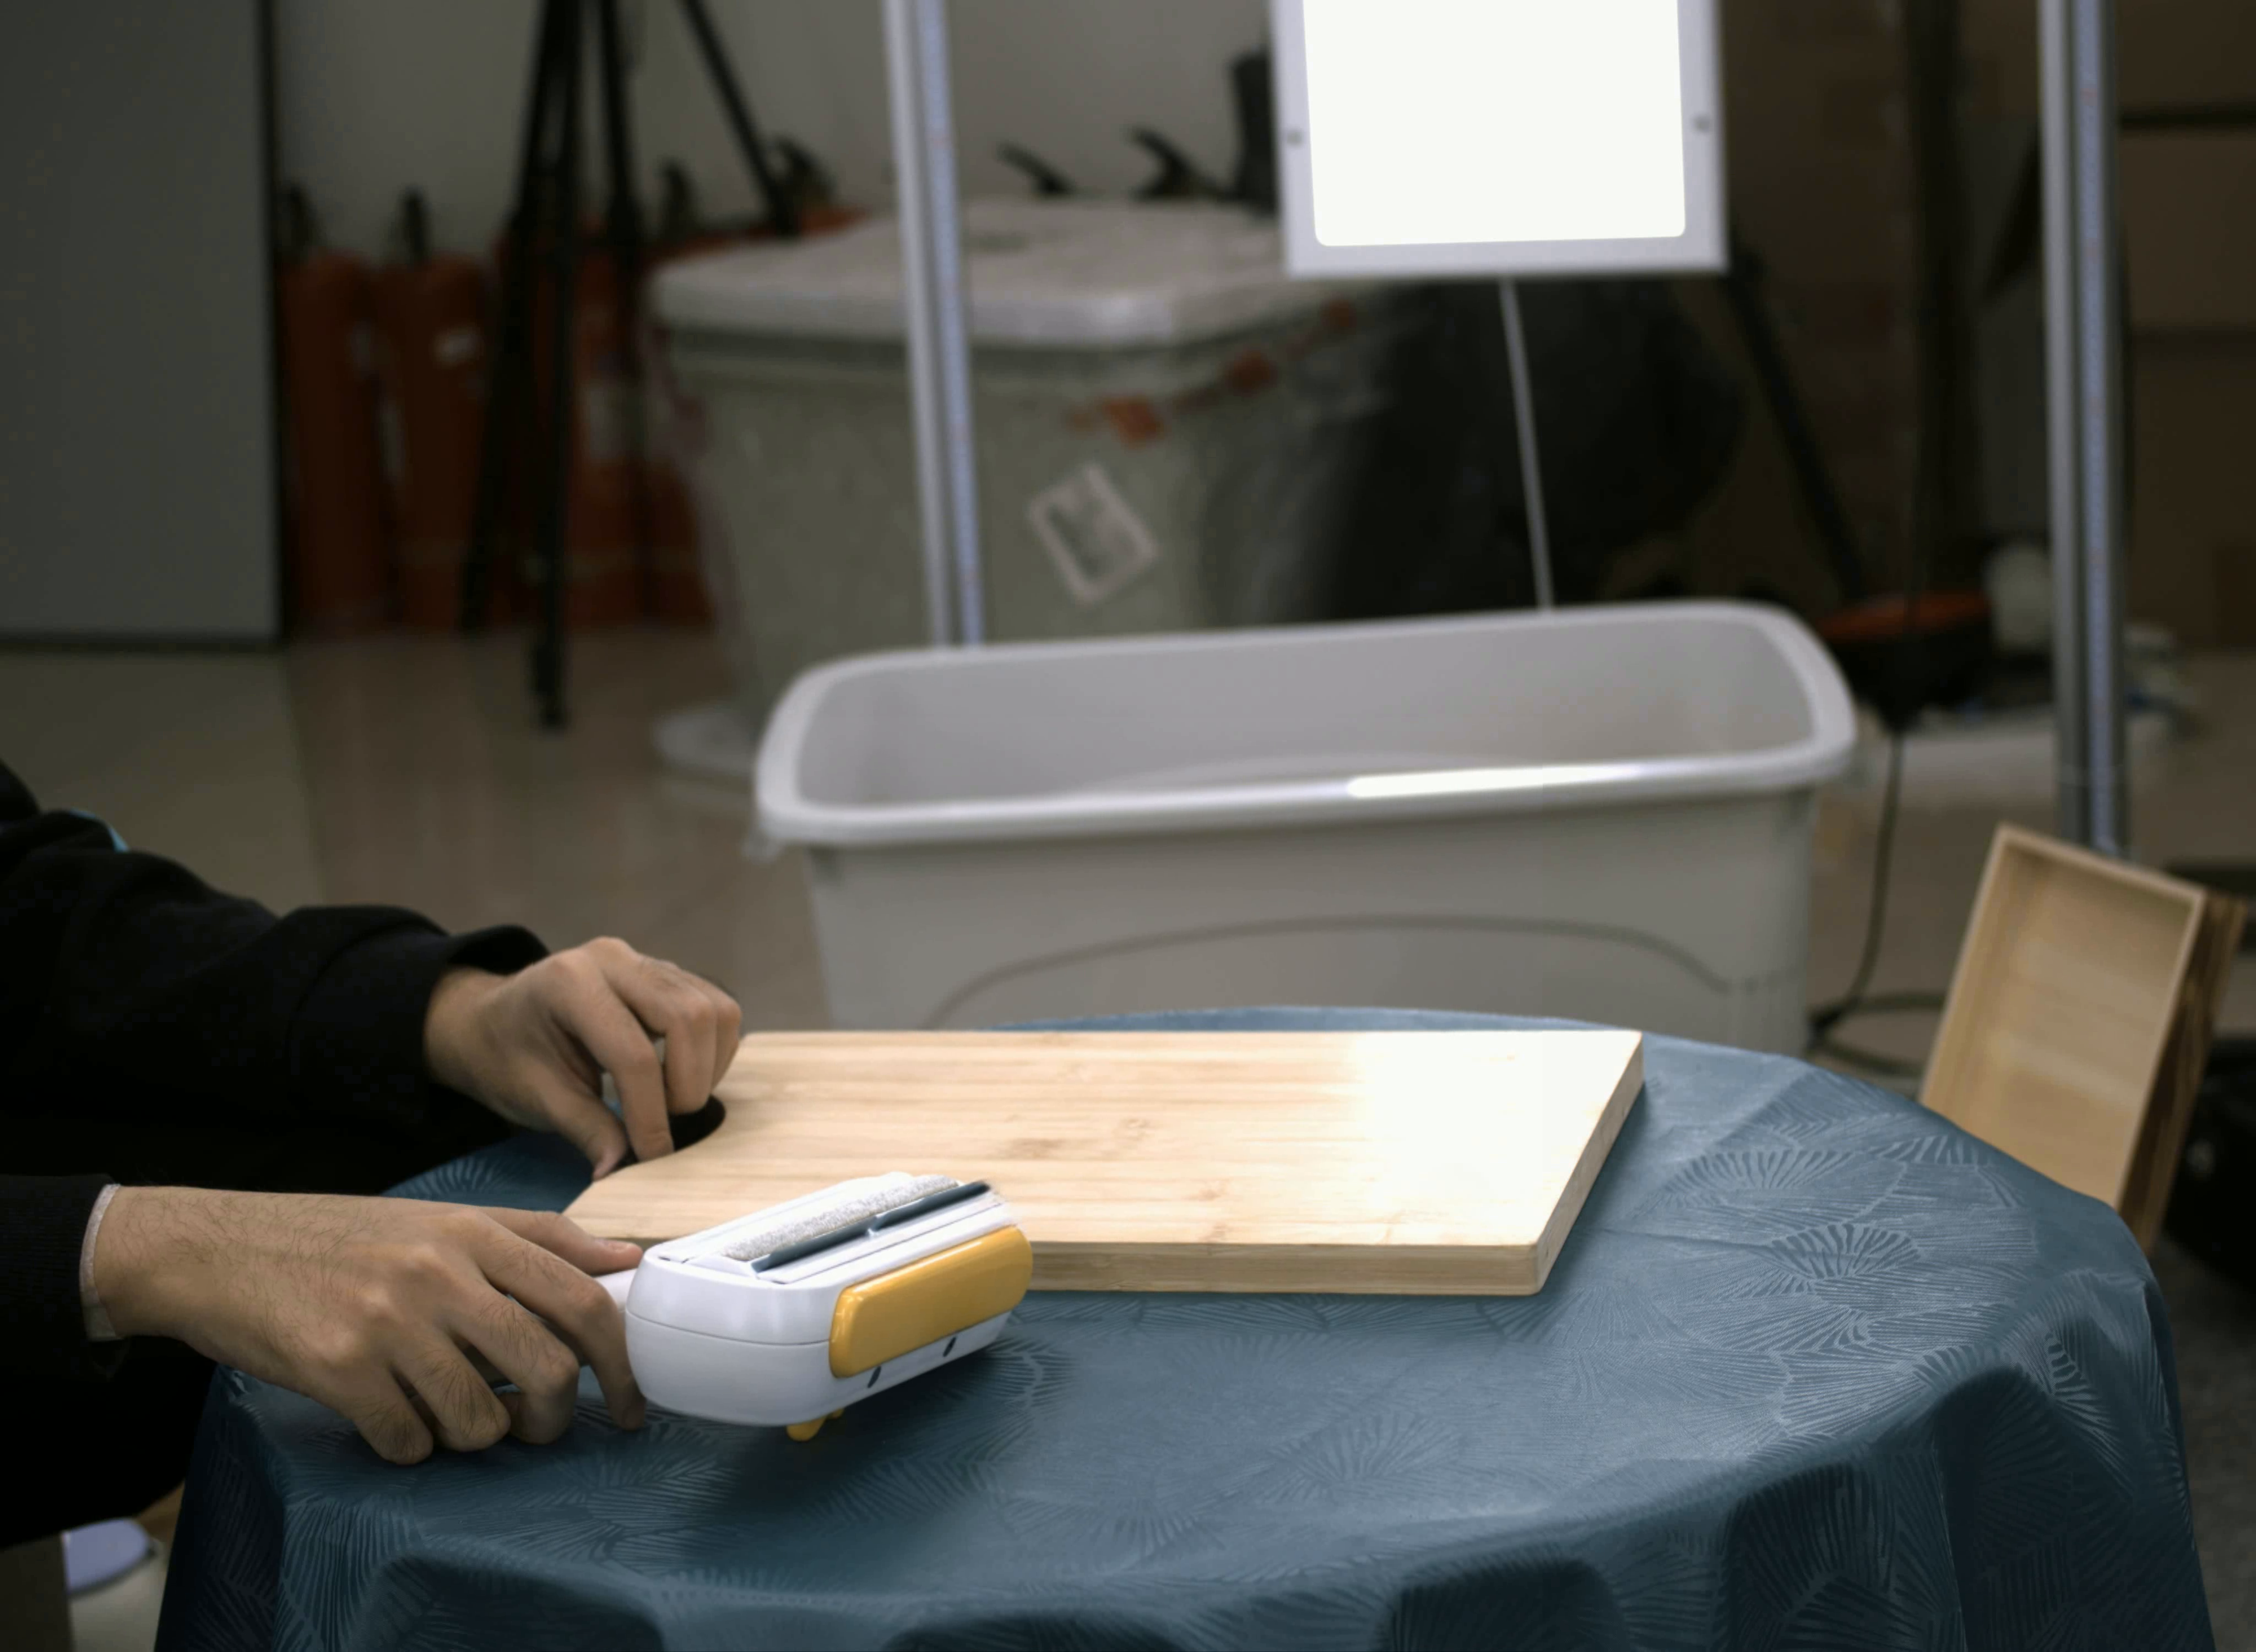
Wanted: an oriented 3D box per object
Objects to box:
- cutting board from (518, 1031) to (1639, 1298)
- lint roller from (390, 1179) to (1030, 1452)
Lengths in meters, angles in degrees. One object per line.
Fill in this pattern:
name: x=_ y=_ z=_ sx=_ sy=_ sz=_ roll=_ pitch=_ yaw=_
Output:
cutting board: x=-0.010 y=0.115 z=1.913 sx=0.352 sy=0.023 sz=0.247 roll=-1 pitch=14 yaw=16
lint roller: x=-0.145 y=0.151 z=1.708 sx=0.196 sy=0.074 sz=0.189 roll=0 pitch=9 yaw=27
